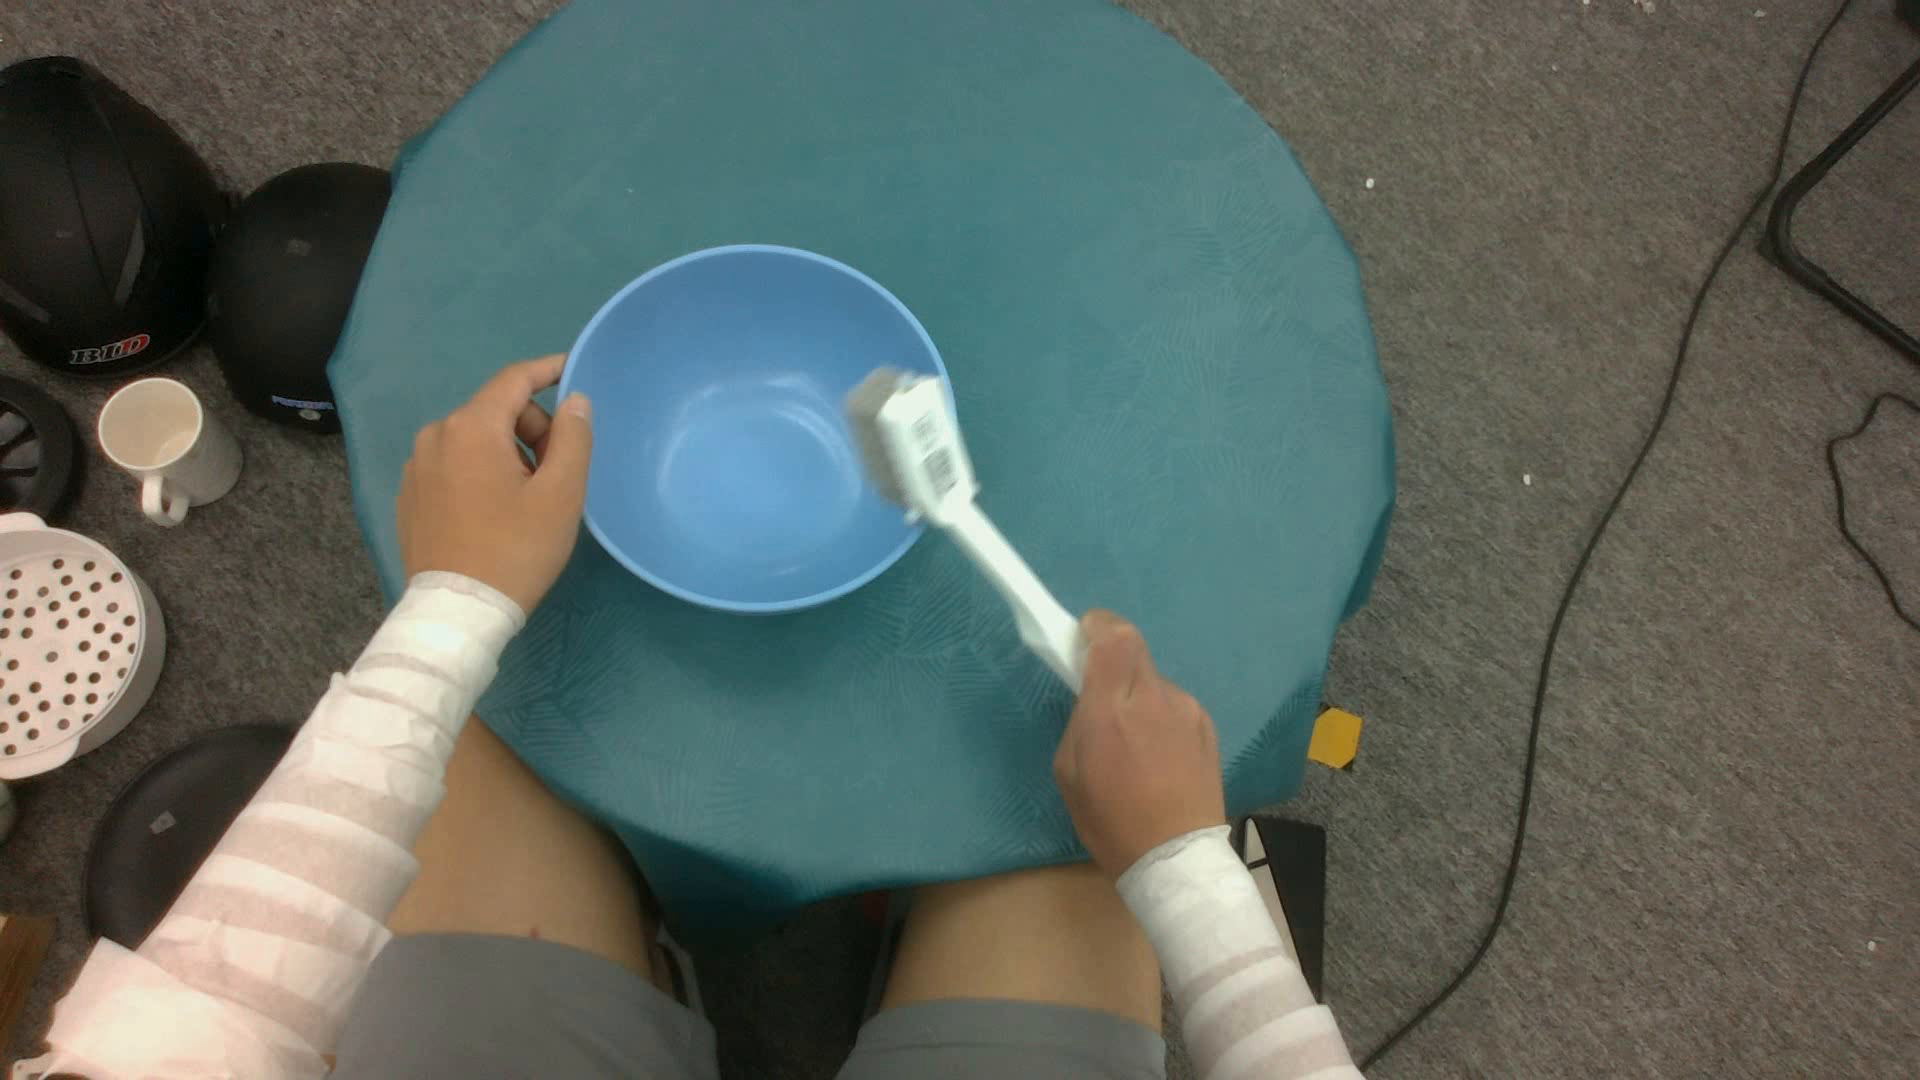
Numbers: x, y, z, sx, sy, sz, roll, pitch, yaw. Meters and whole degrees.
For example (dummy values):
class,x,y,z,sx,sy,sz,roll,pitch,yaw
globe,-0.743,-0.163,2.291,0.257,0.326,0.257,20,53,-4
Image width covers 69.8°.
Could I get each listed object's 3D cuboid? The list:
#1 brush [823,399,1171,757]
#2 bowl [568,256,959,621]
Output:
class,x,y,z,sx,sy,sz,roll,pitch,yaw
brush,0.021,0.025,0.689,0.243,0.050,0.034,49,56,-21
bowl,-0.103,-0.042,0.738,0.196,0.095,0.197,3,72,-8
